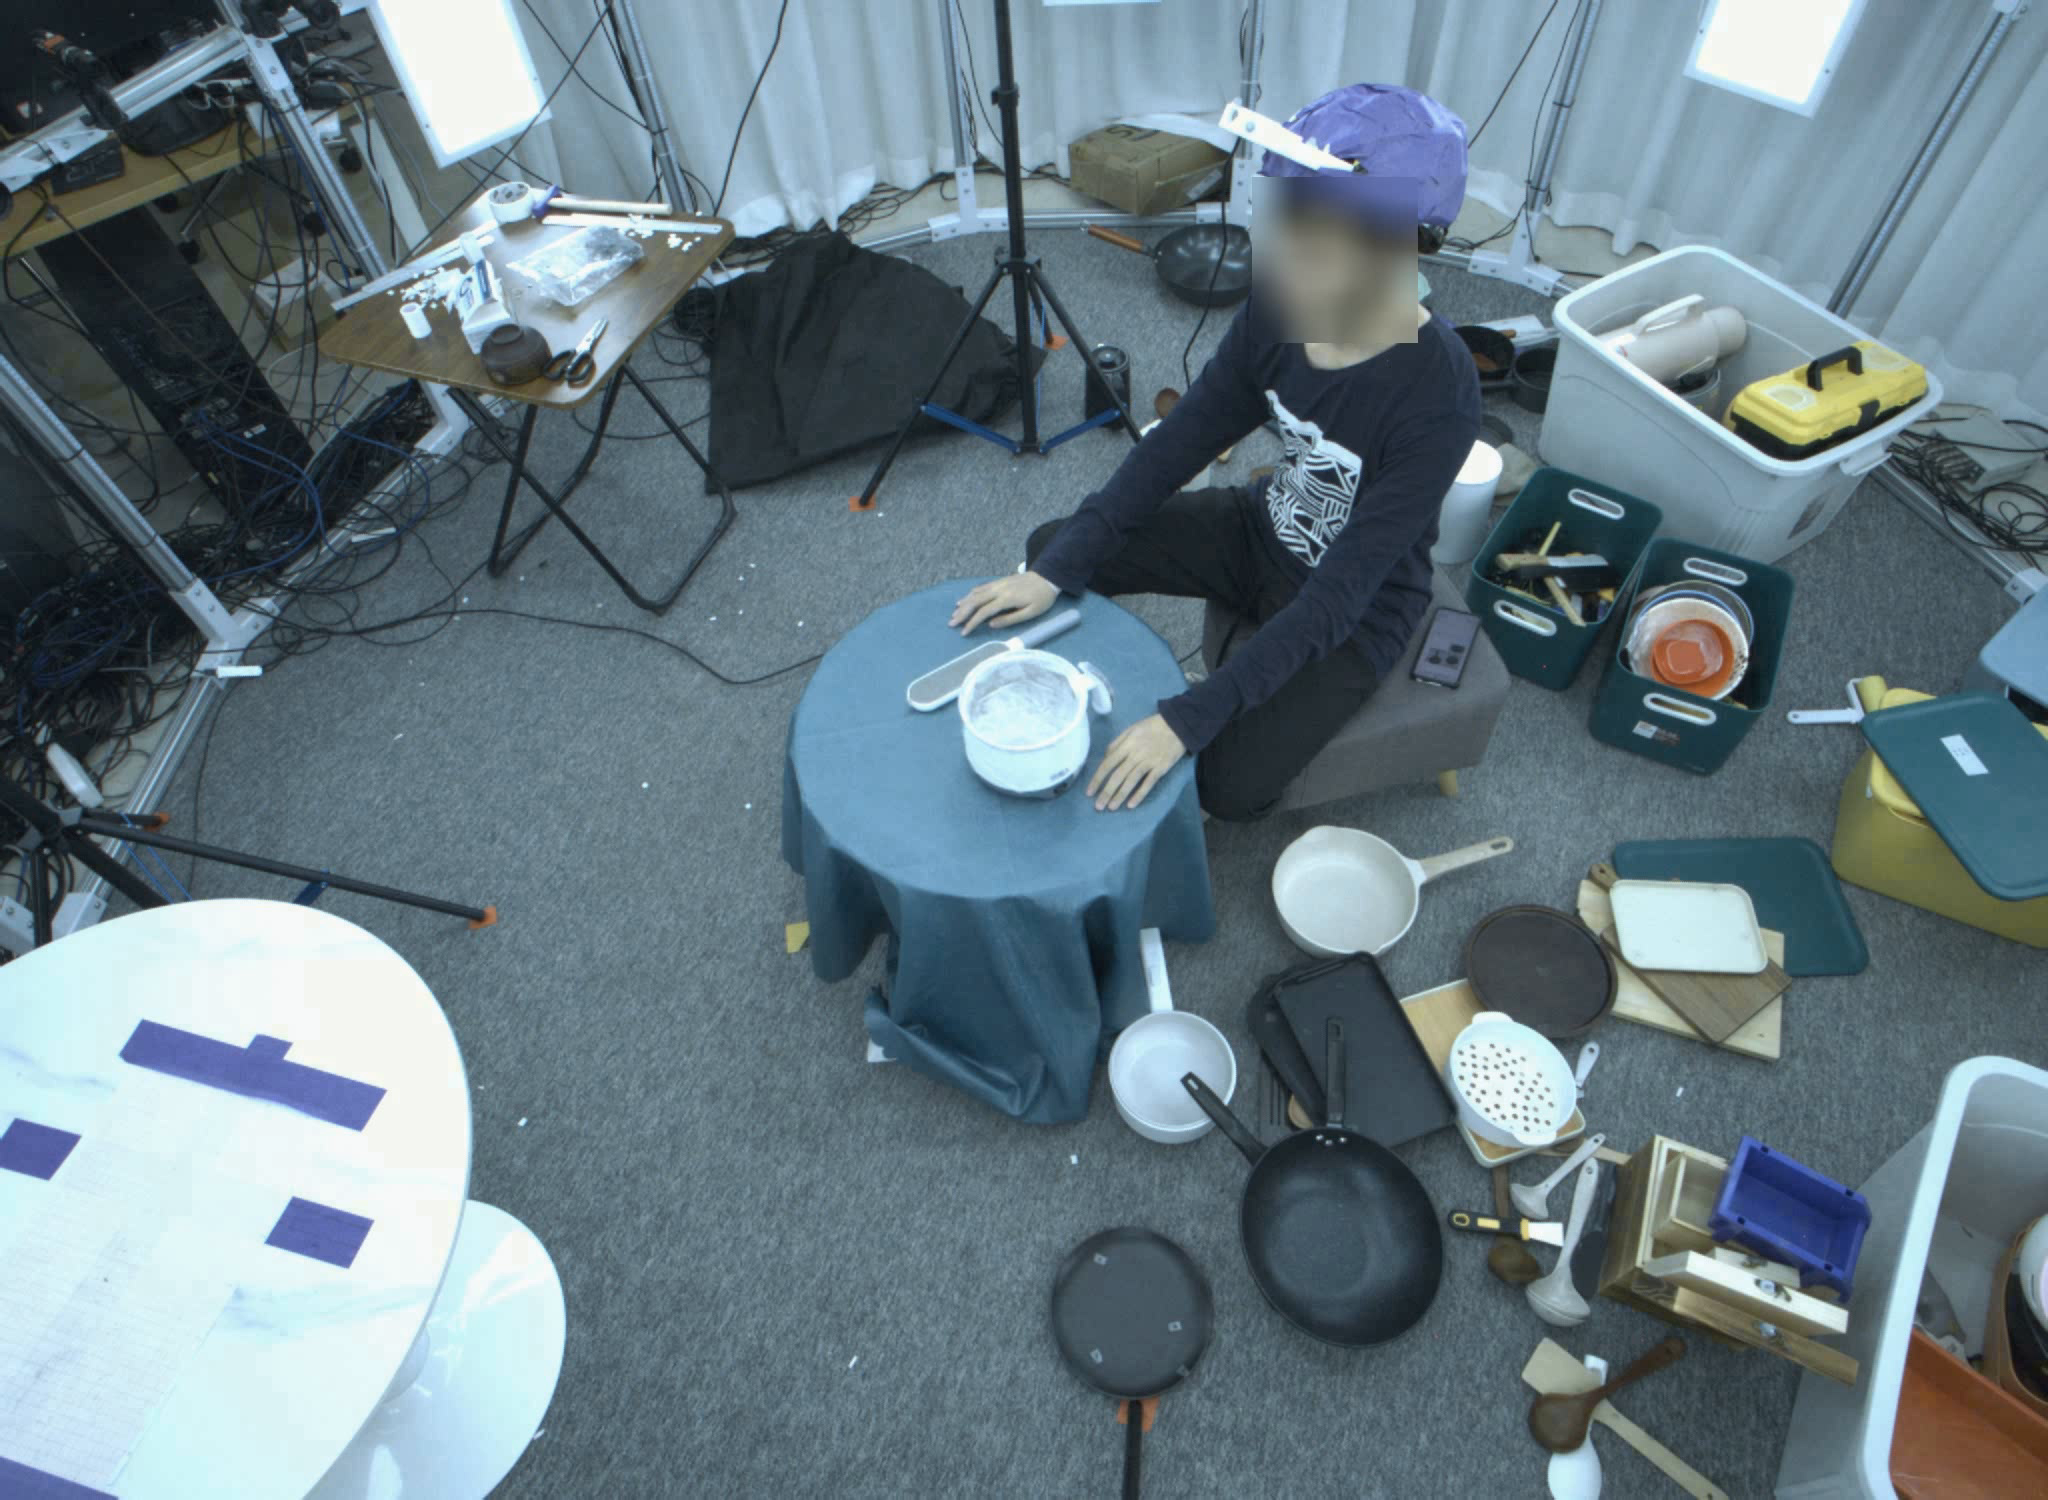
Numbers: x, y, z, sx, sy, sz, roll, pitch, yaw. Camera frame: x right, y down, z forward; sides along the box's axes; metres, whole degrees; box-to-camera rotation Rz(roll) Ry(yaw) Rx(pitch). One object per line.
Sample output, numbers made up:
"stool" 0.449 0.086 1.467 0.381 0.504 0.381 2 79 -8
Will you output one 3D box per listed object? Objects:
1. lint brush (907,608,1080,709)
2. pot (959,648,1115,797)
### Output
"lint brush" -0.043 -0.144 1.883 0.311 0.021 0.059 -29 53 -18
"pot" 0.026 -0.048 1.741 0.235 0.138 0.175 -30 61 -17
